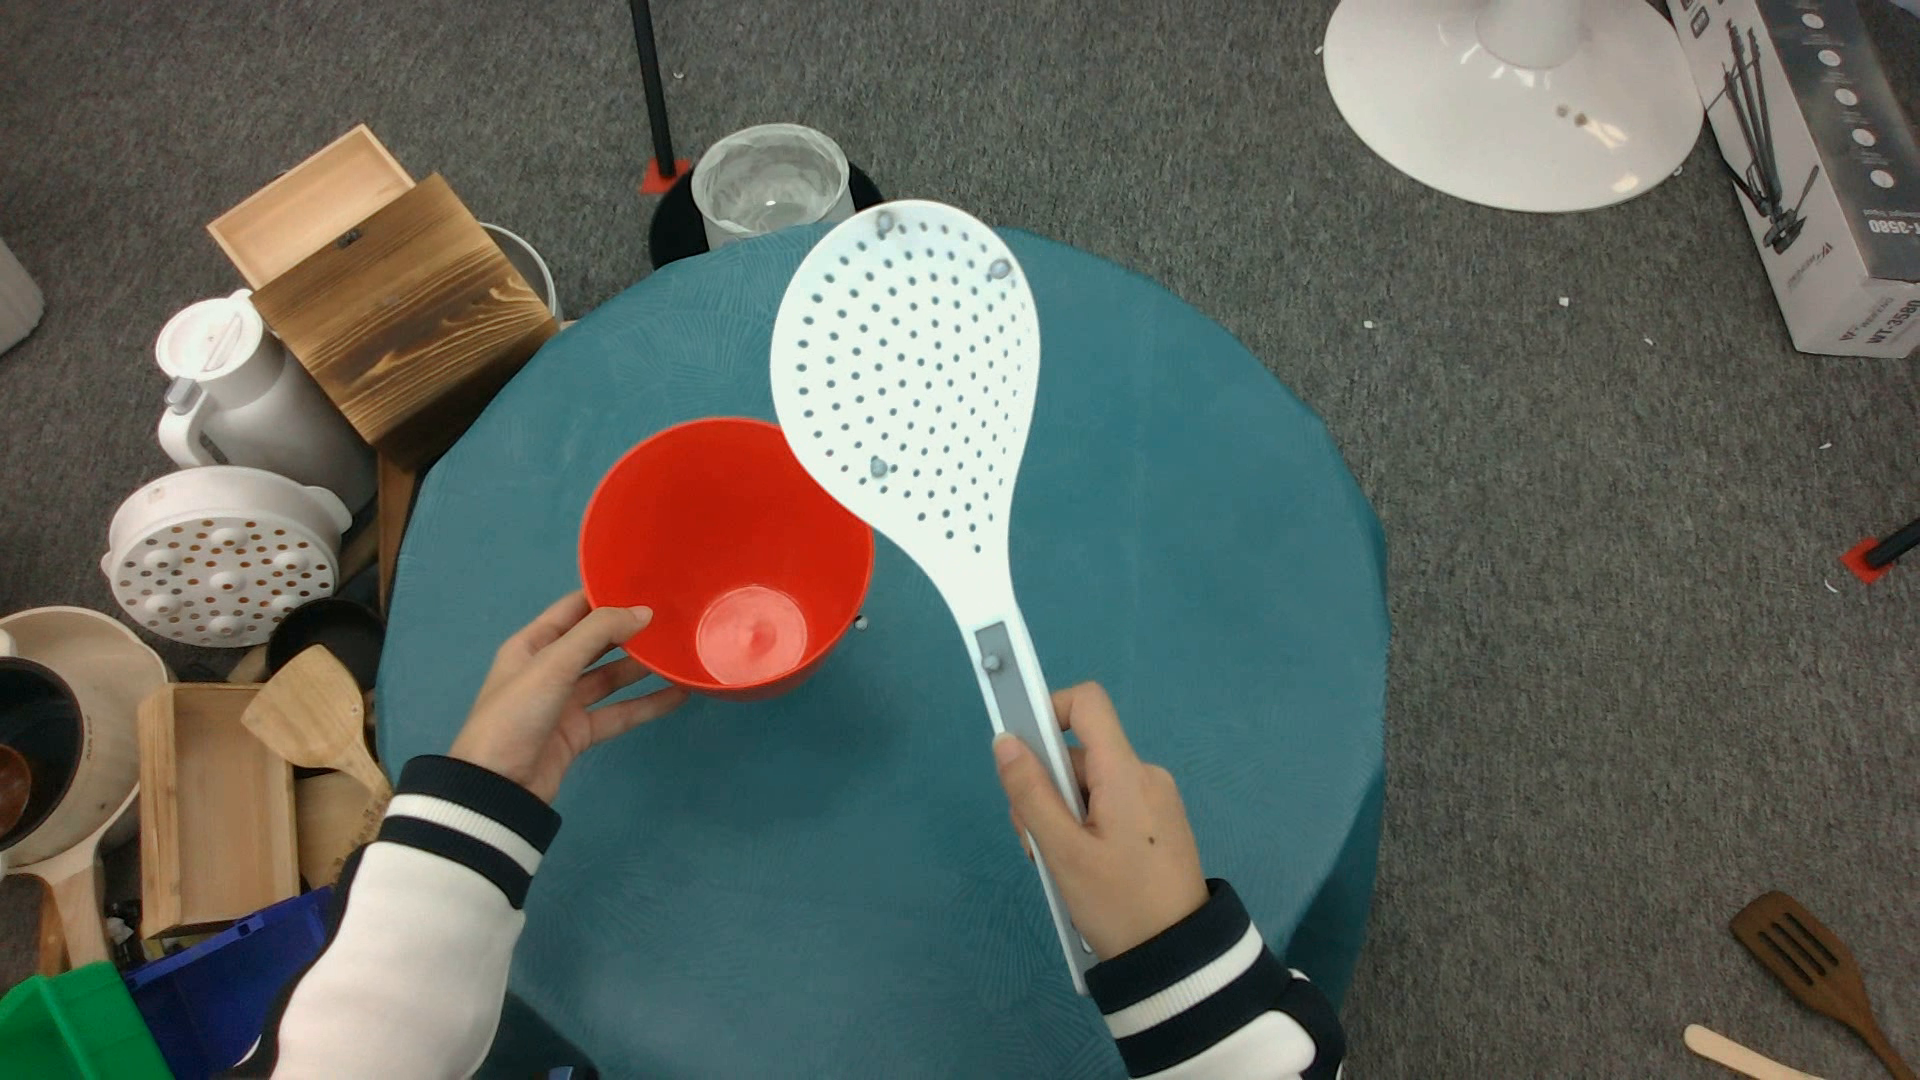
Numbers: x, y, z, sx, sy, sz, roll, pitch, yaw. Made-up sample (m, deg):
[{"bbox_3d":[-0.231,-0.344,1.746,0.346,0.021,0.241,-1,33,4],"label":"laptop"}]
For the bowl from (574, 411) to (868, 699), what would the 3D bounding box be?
[{"bbox_3d":[-0.124,0.020,0.736,0.148,0.104,0.148,3,59,-5],"label":"bowl"}]

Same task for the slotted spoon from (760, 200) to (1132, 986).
[{"bbox_3d":[0.006,0.019,0.598,0.135,0.046,0.350,-23,76,26],"label":"slotted spoon"}]
